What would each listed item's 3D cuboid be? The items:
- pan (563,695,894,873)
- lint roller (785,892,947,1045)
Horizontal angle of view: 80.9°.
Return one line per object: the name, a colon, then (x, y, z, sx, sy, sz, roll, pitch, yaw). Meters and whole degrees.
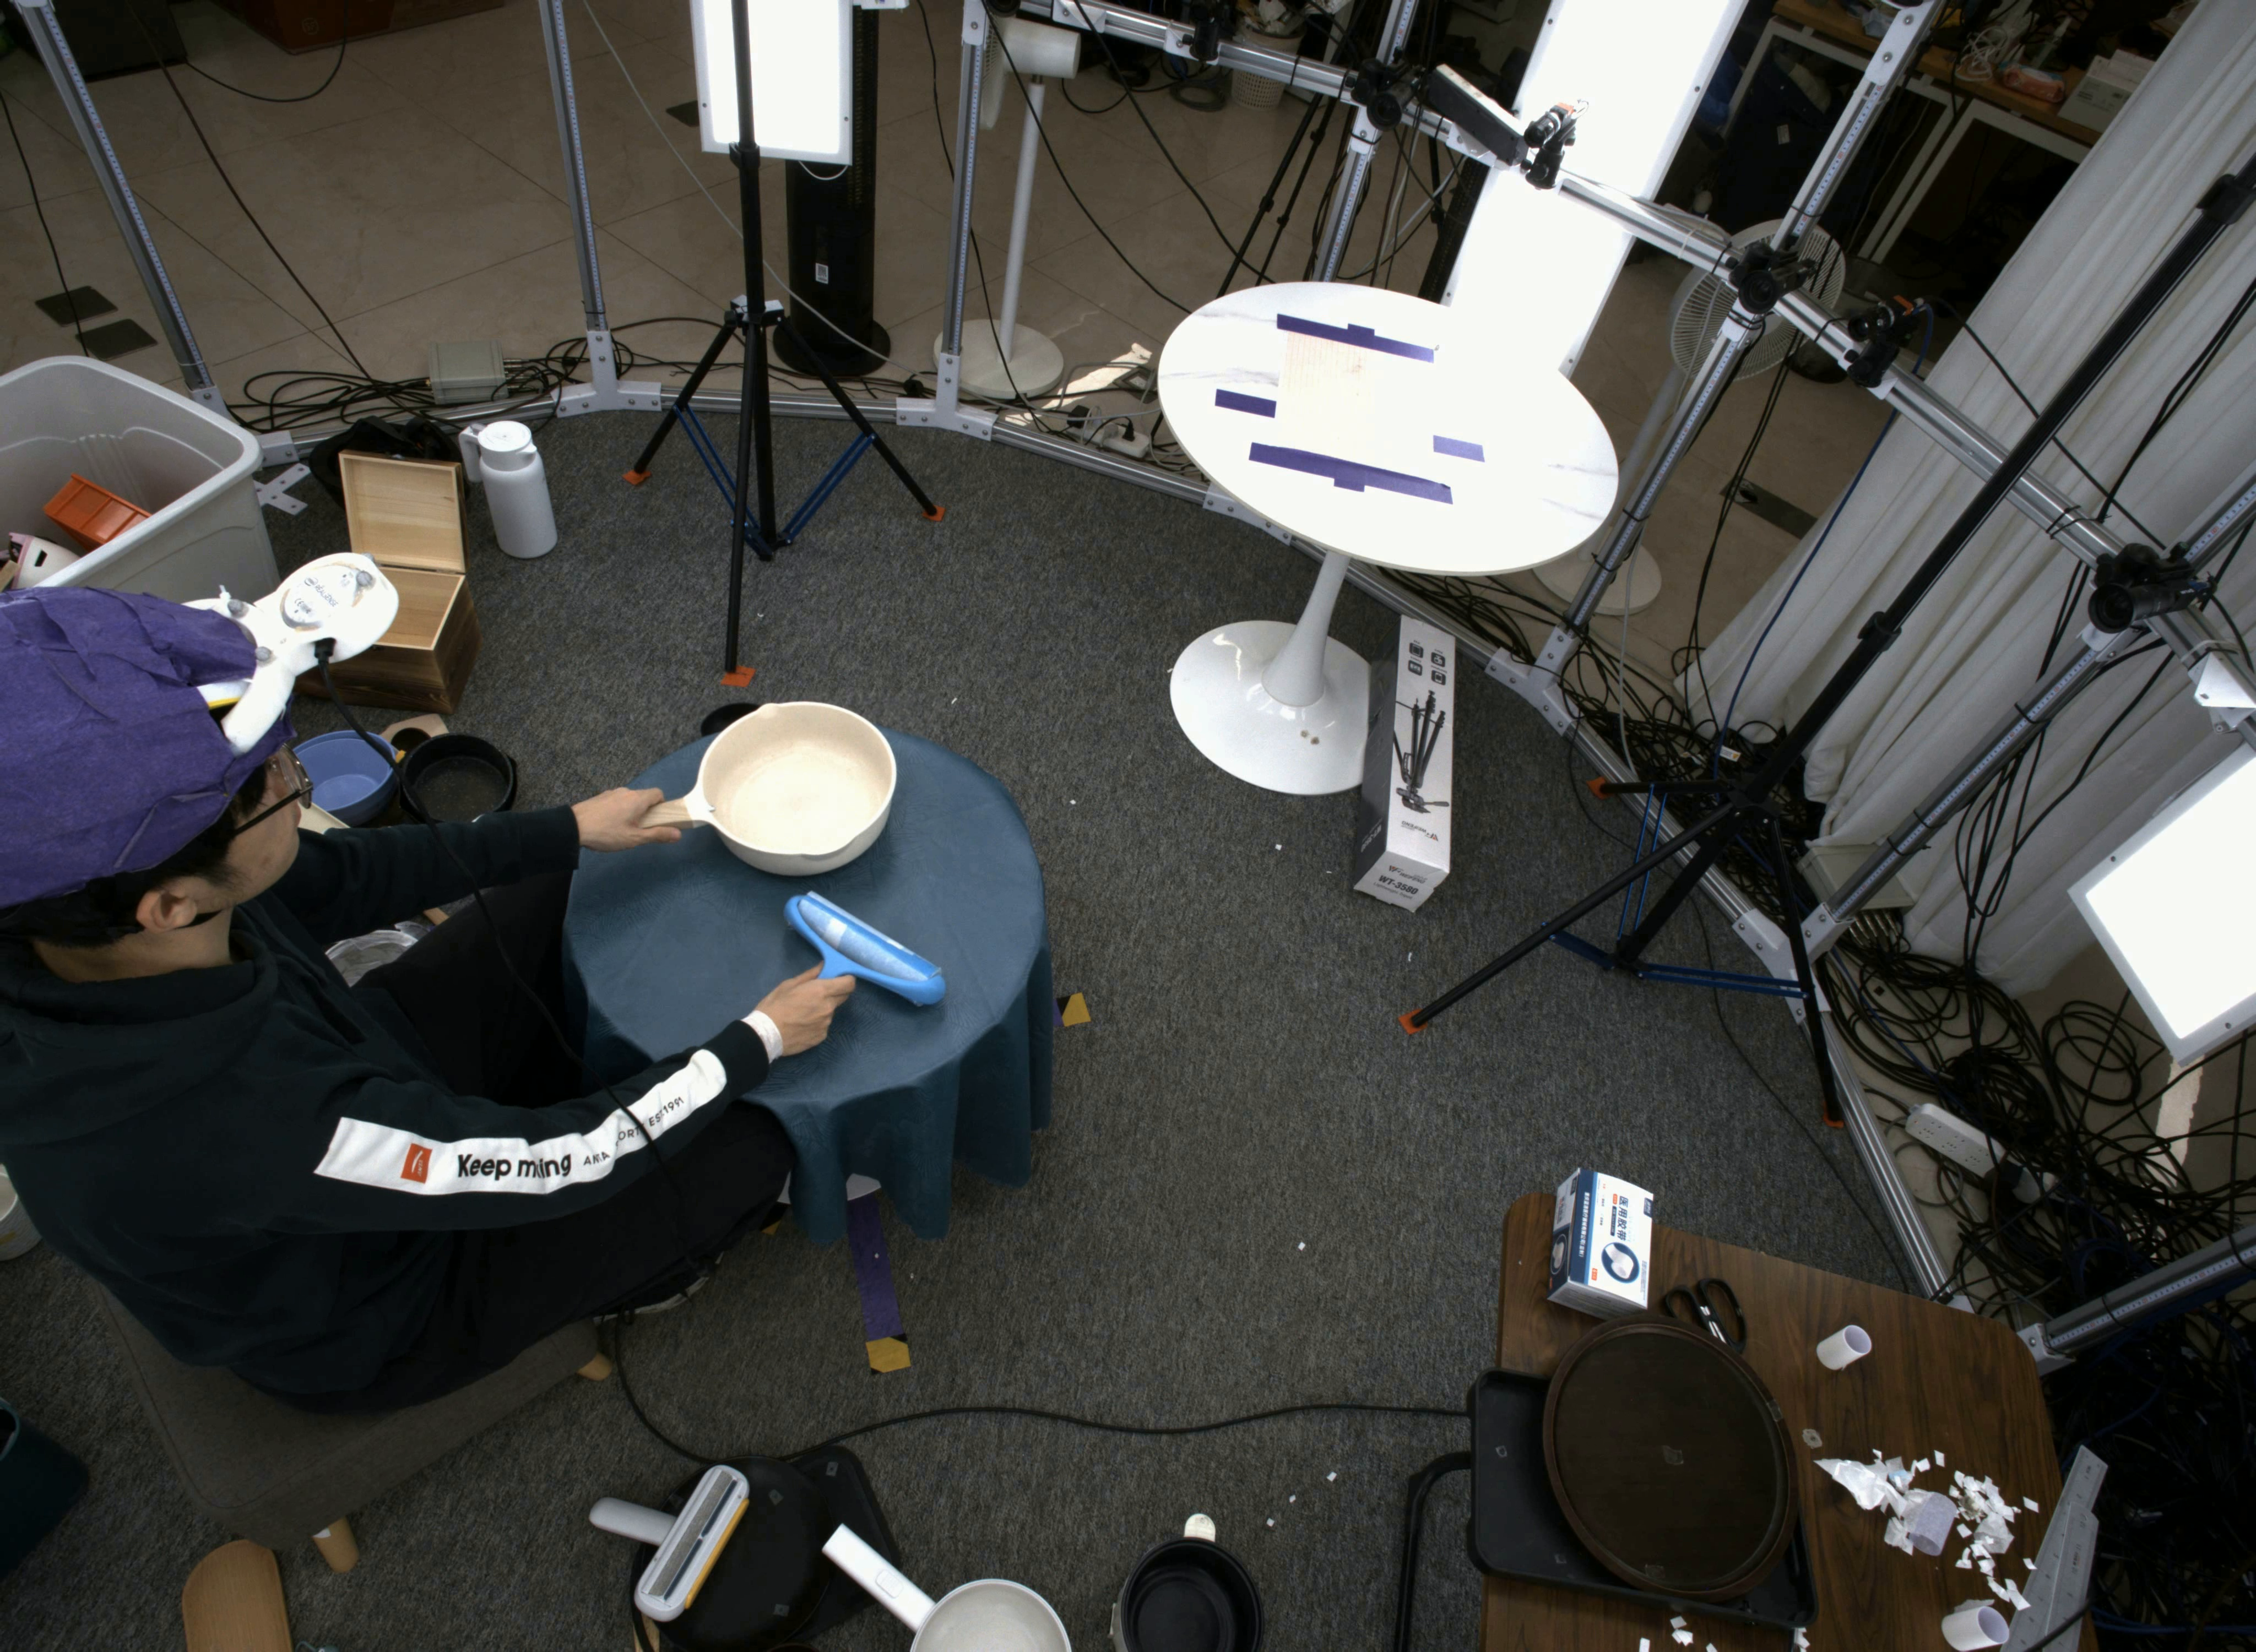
pan: (-0.511, -0.023, 1.659, 0.436, 0.104, 0.257, -21, 62, -22)
lint roller: (-0.349, 0.183, 1.570, 0.226, 0.069, 0.179, 29, 46, 5)
